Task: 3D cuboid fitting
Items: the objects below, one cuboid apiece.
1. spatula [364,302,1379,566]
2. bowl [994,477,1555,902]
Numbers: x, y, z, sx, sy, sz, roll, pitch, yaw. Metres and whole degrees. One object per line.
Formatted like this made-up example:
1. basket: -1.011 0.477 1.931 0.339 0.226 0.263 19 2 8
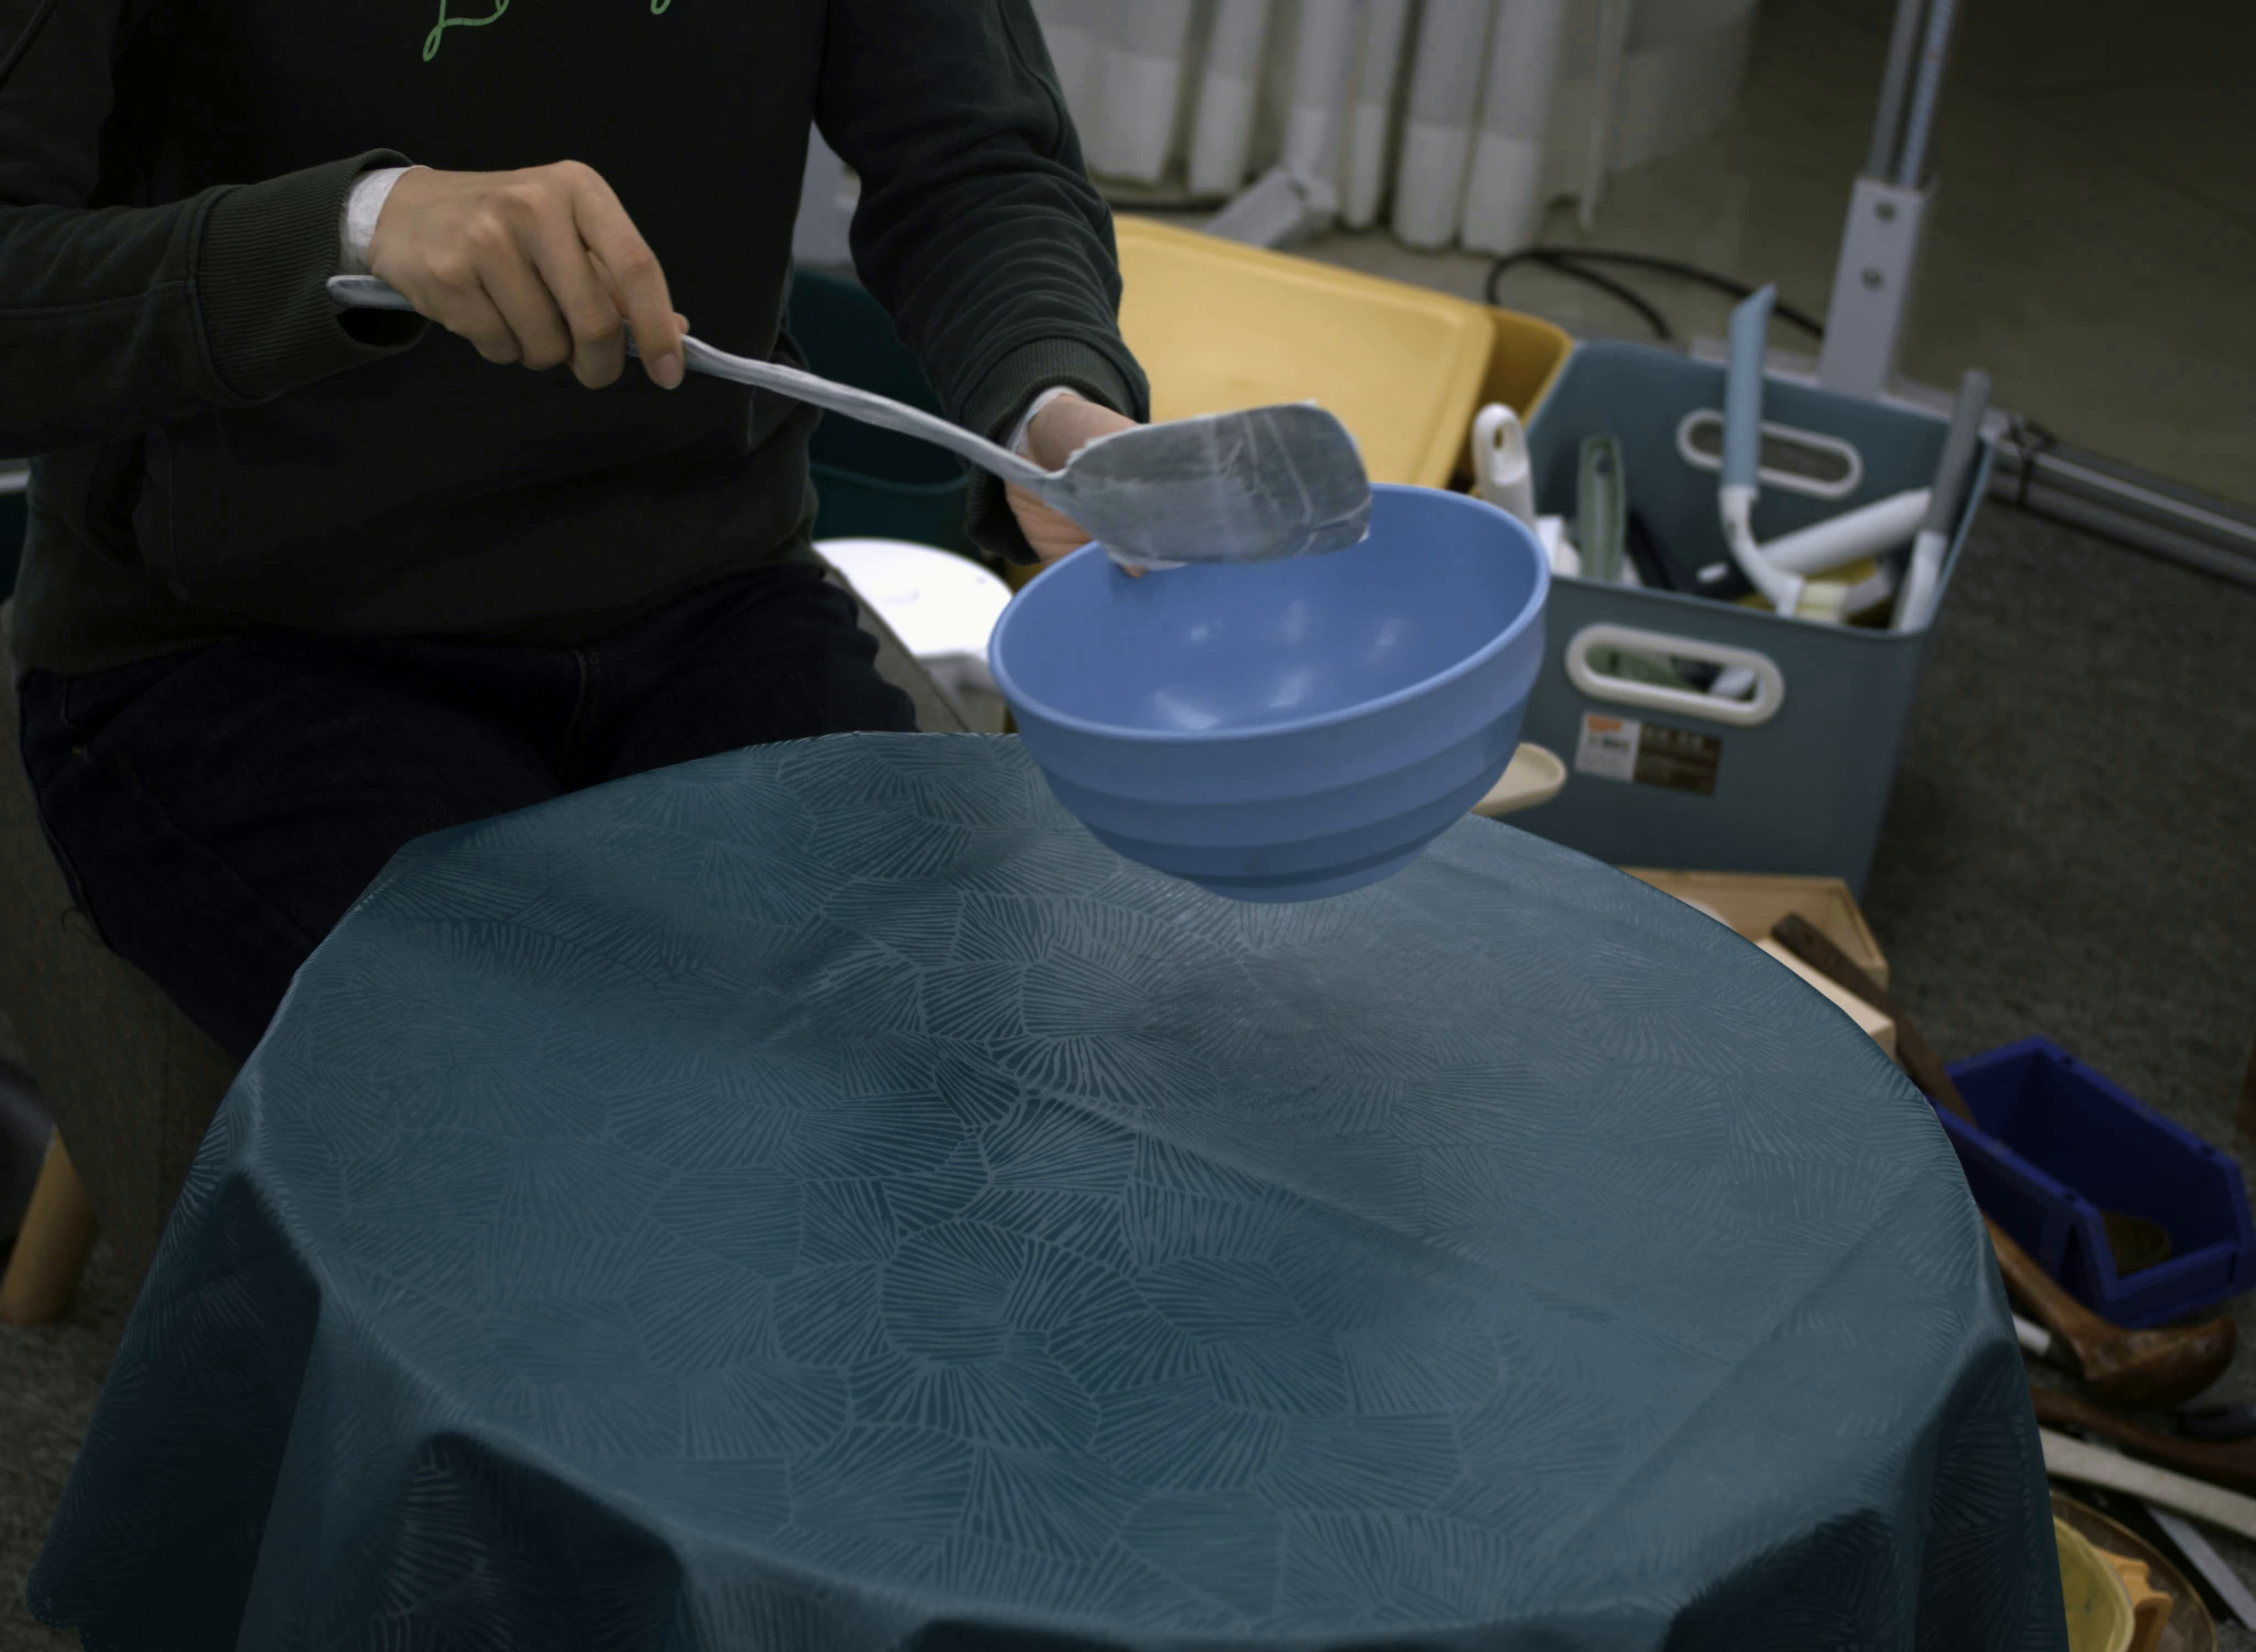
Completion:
1. spatula: -0.094 -0.144 1.794 0.366 0.098 0.045 16 67 18
2. bowl: 0.058 -0.037 1.850 0.196 0.095 0.198 -10 27 5
